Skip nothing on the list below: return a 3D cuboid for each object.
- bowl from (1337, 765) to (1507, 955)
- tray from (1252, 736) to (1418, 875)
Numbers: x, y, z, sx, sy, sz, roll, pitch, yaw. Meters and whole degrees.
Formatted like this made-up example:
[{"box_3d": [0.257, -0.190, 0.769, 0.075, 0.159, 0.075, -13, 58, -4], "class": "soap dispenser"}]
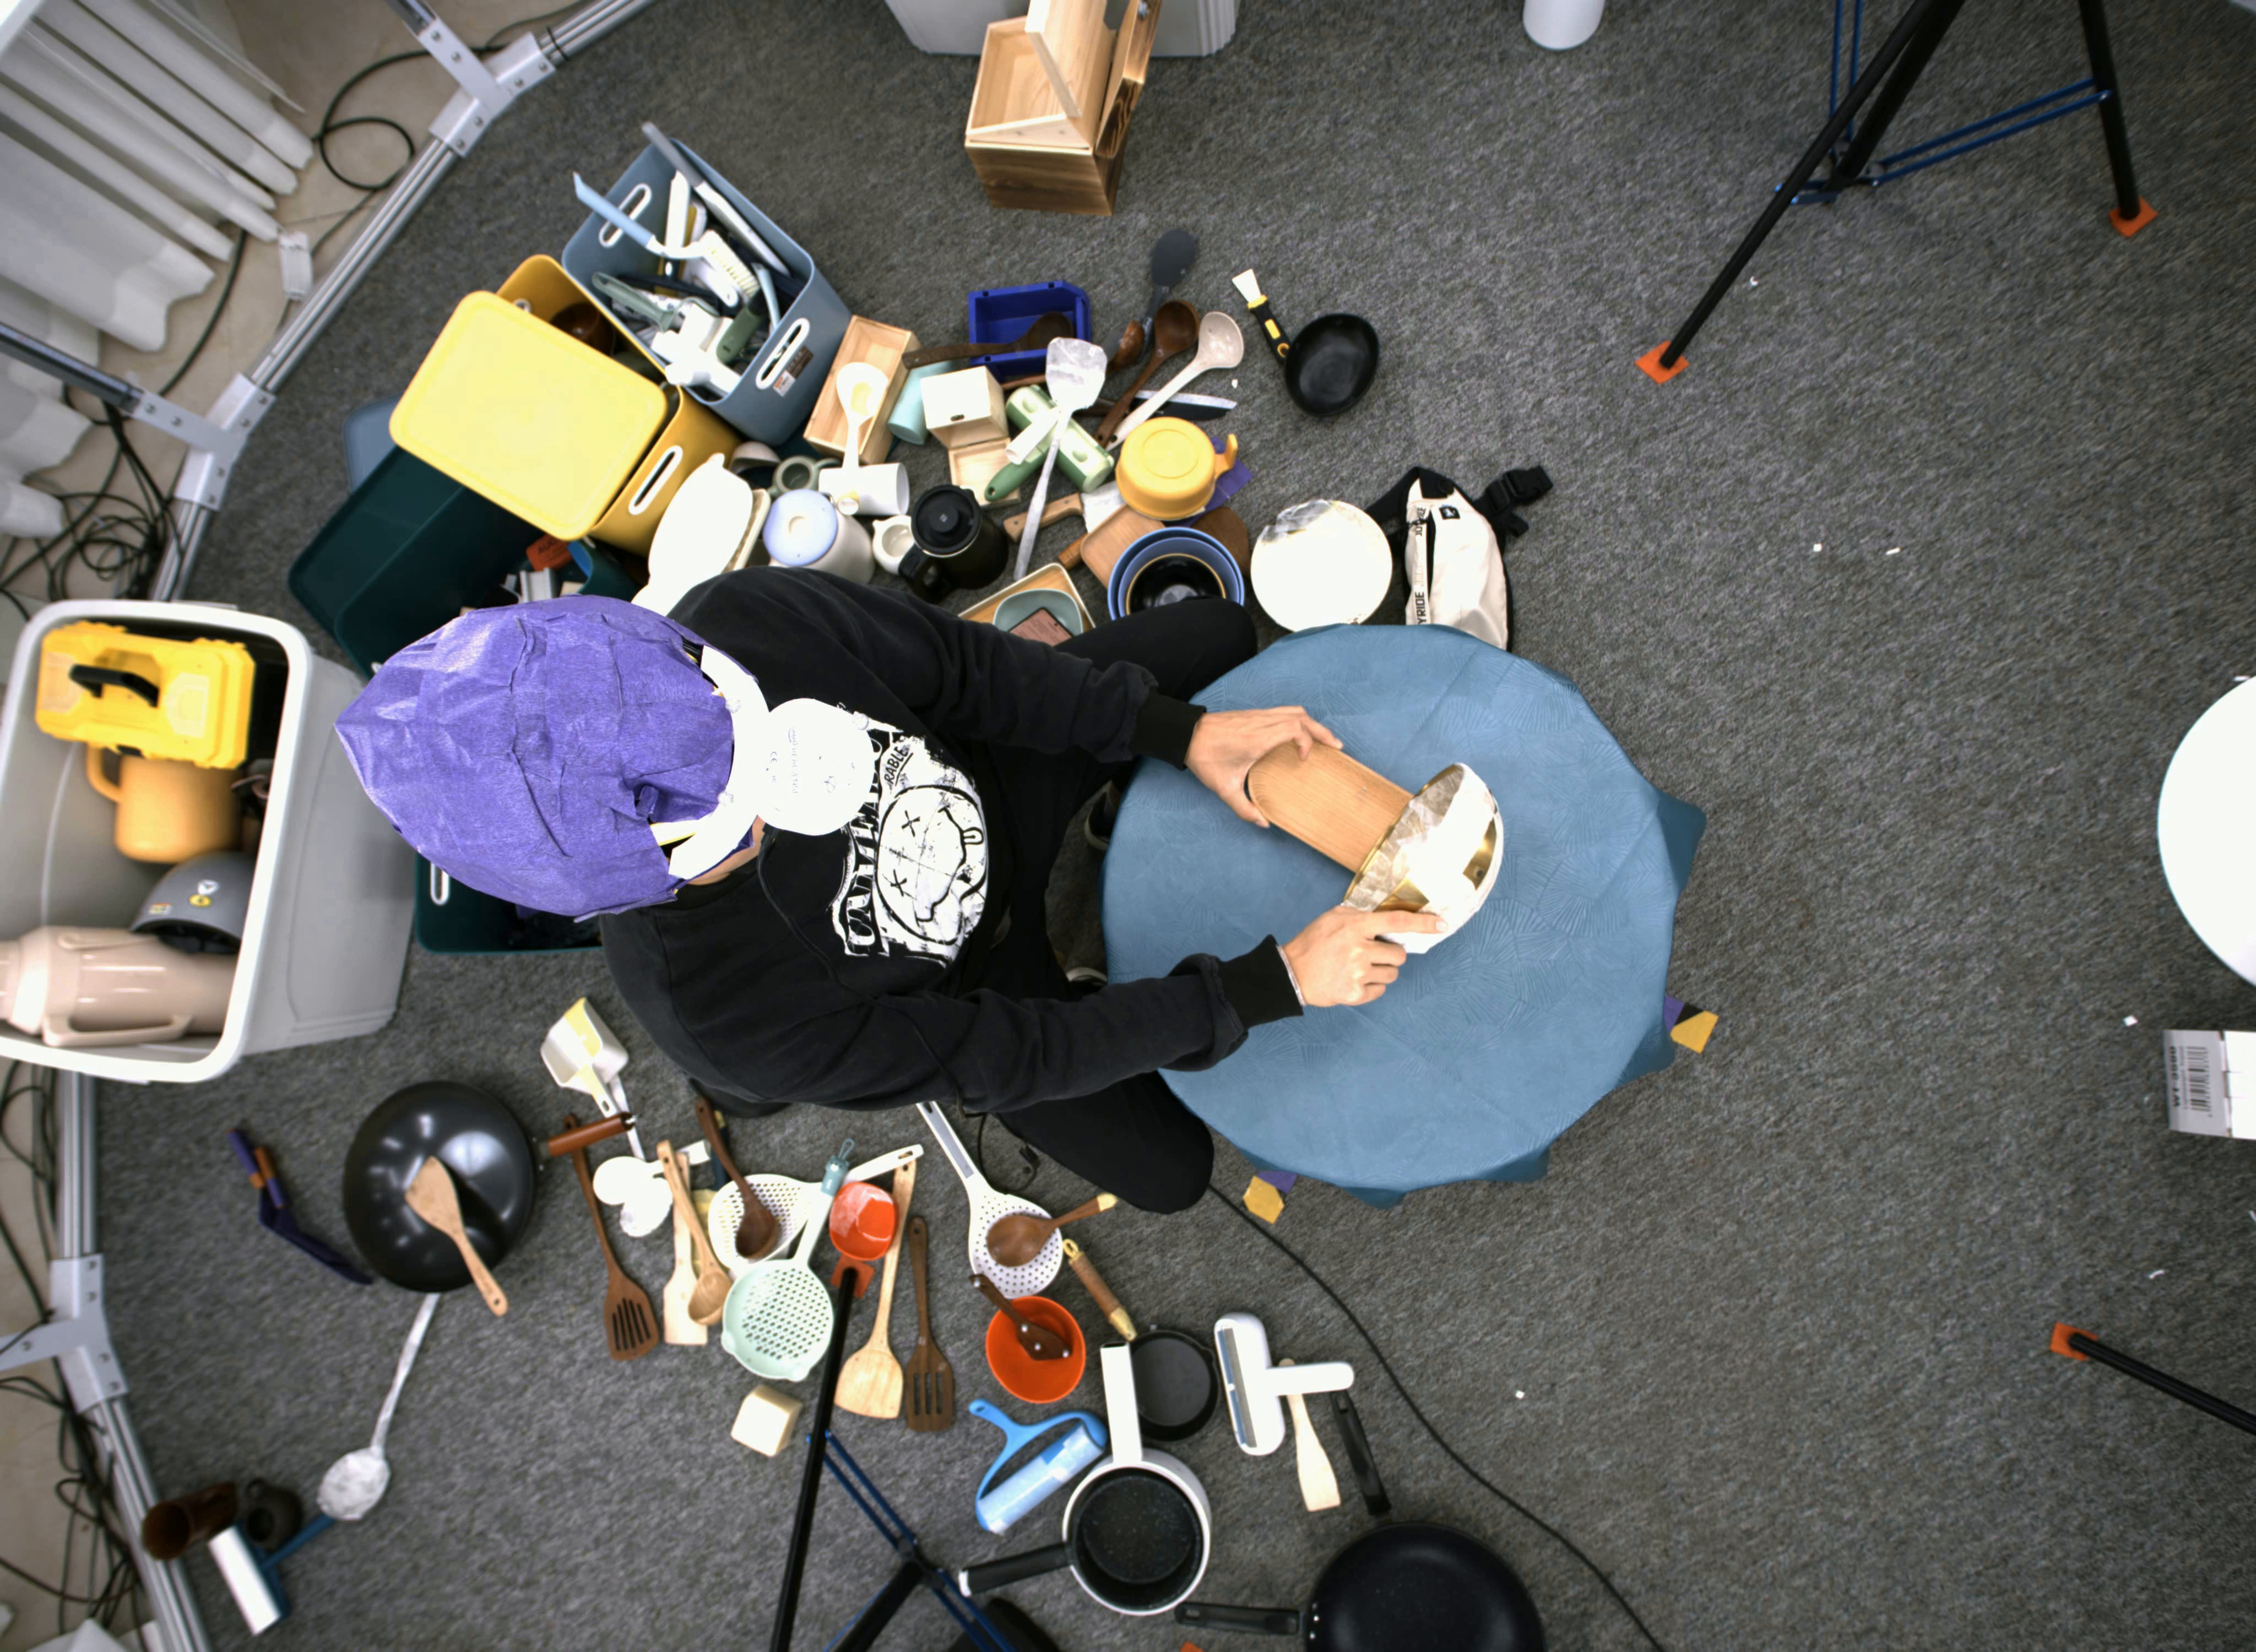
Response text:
[{"box_3d": [0.296, 0.047, 1.329, 0.095, 0.214, 0.215, 35, 91, -4], "class": "bowl"}, {"box_3d": [0.236, -0.011, 1.445, 0.231, 0.020, 0.102, 30, 93, -4], "class": "tray"}]
